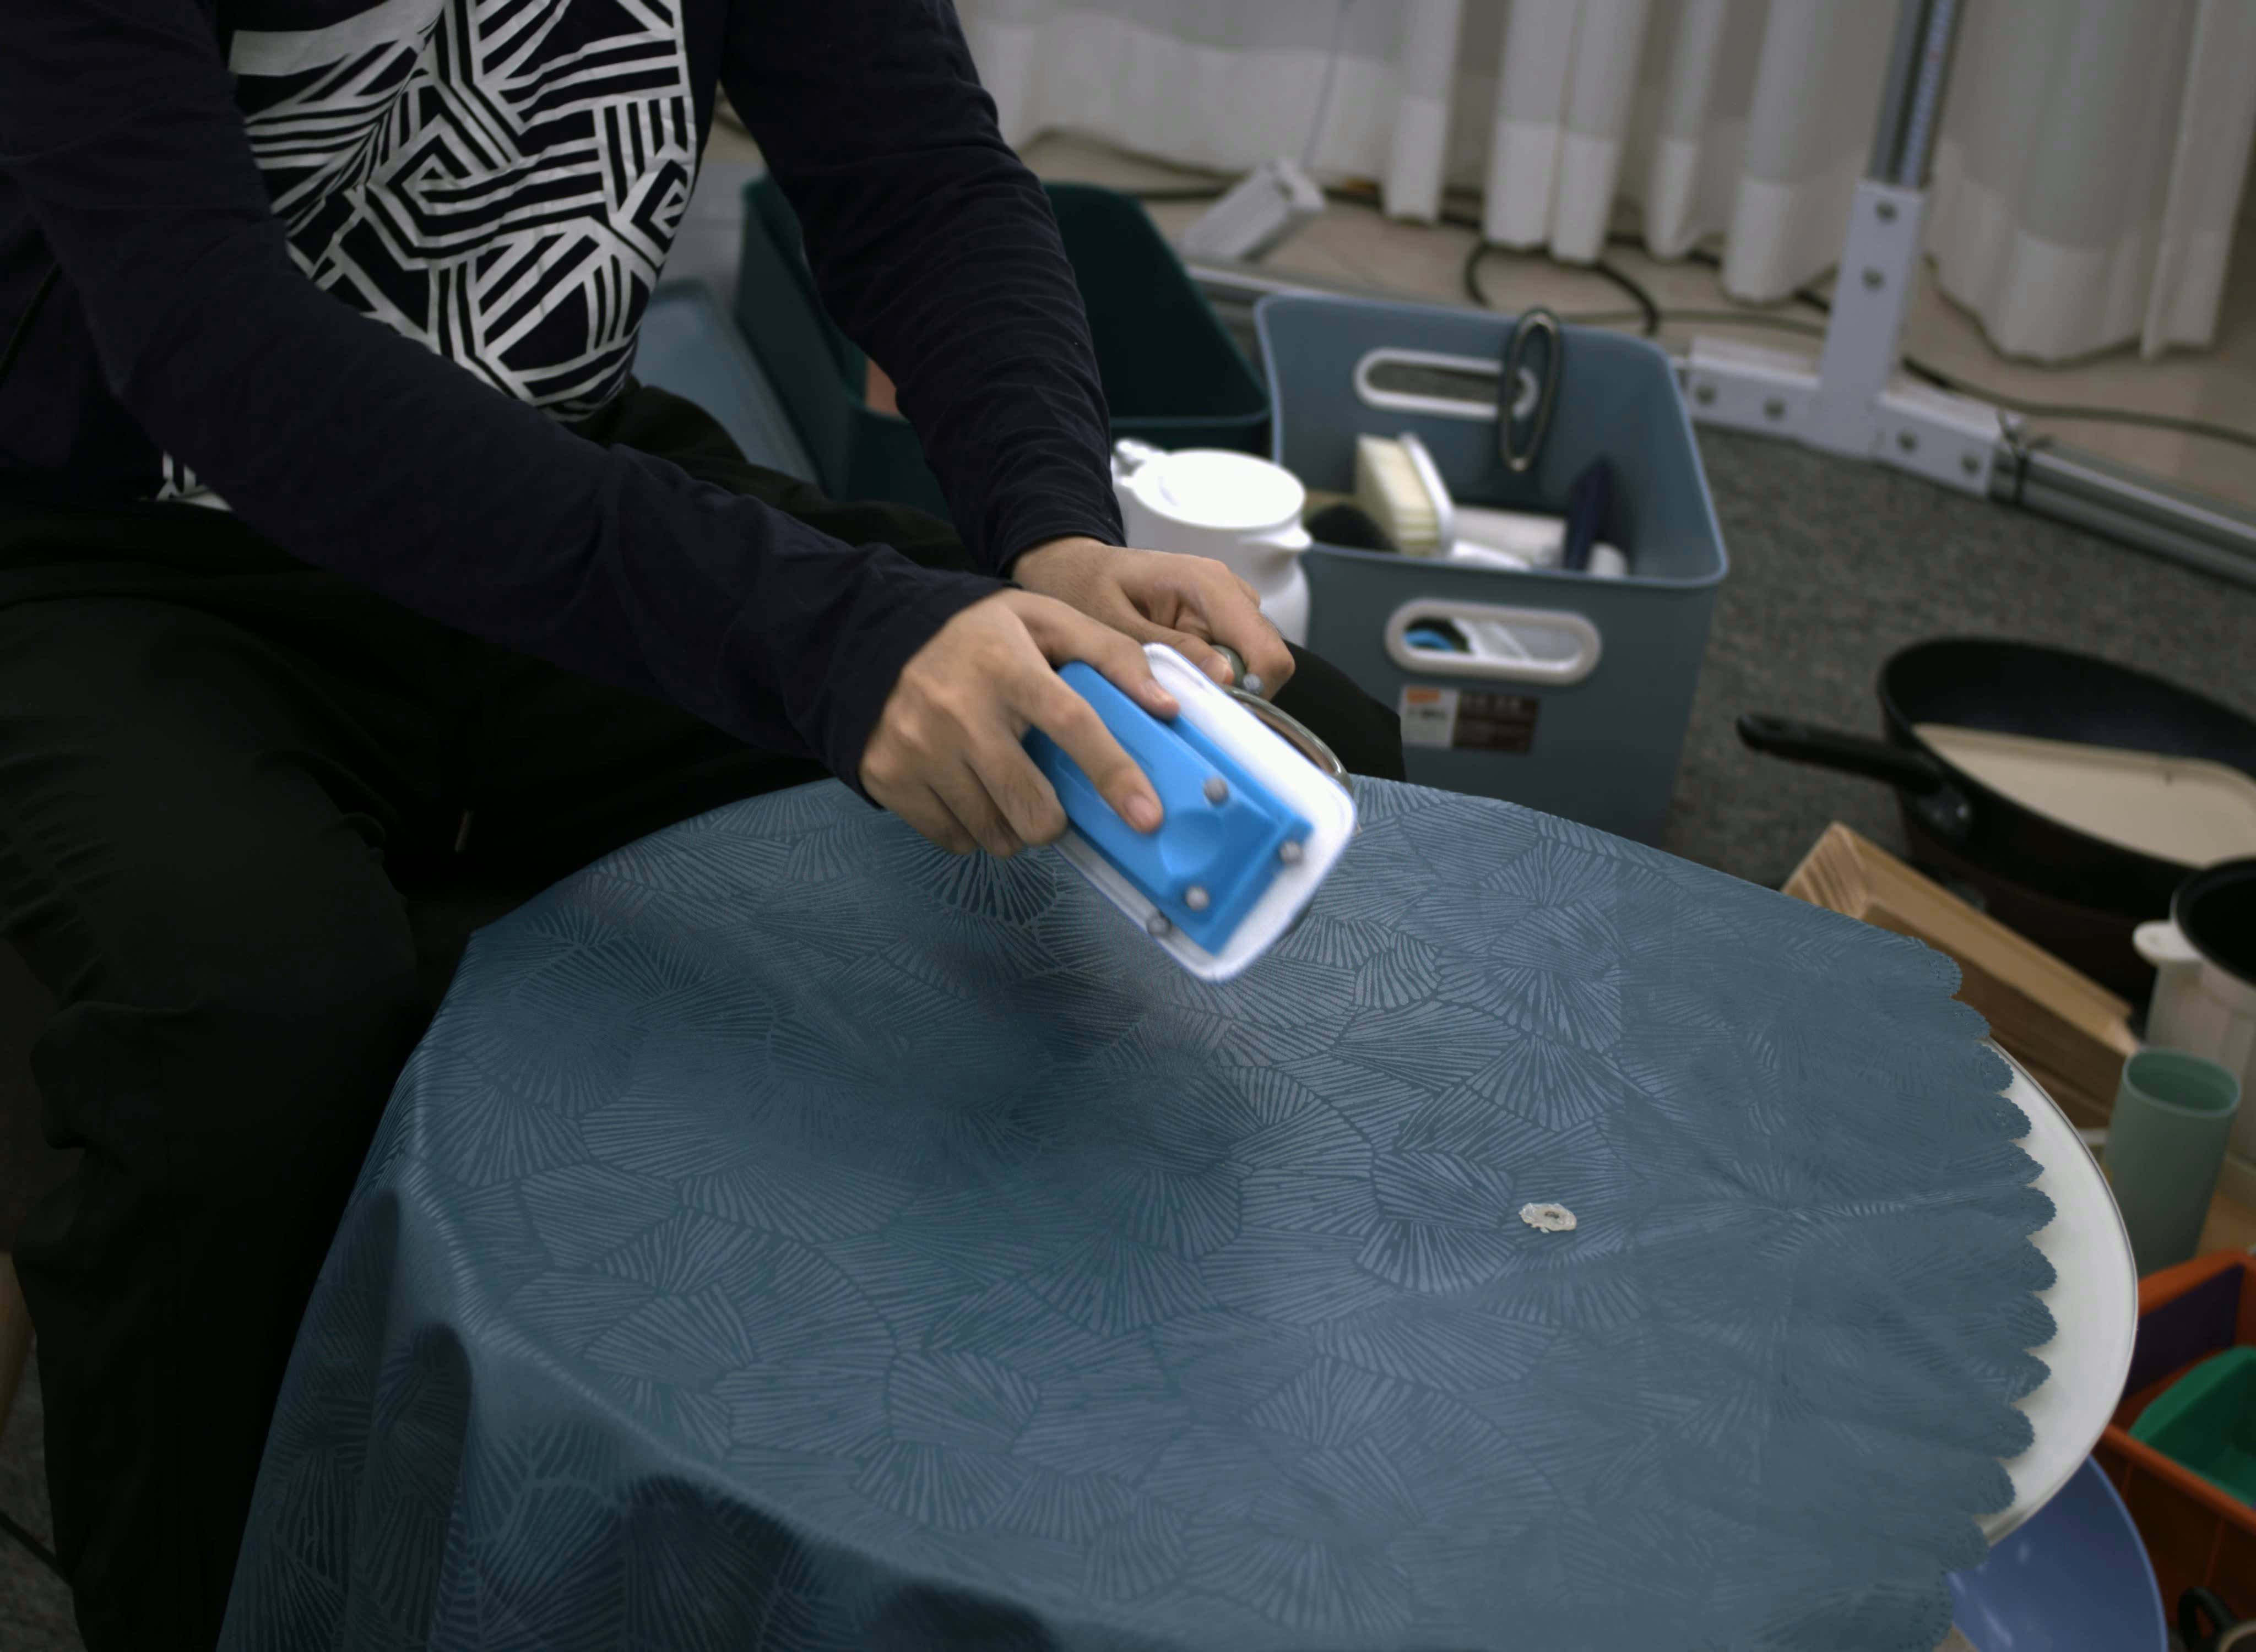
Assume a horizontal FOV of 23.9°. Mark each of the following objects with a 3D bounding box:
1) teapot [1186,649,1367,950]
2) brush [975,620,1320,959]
[{"bbox_3d":[0.037,-0.005,1.872,0.079,0.075,0.134,25,17,-35],"label":"teapot"},{"bbox_3d":[-0.001,-0.019,1.819,0.055,0.084,0.145,39,2,-45],"label":"brush"}]
